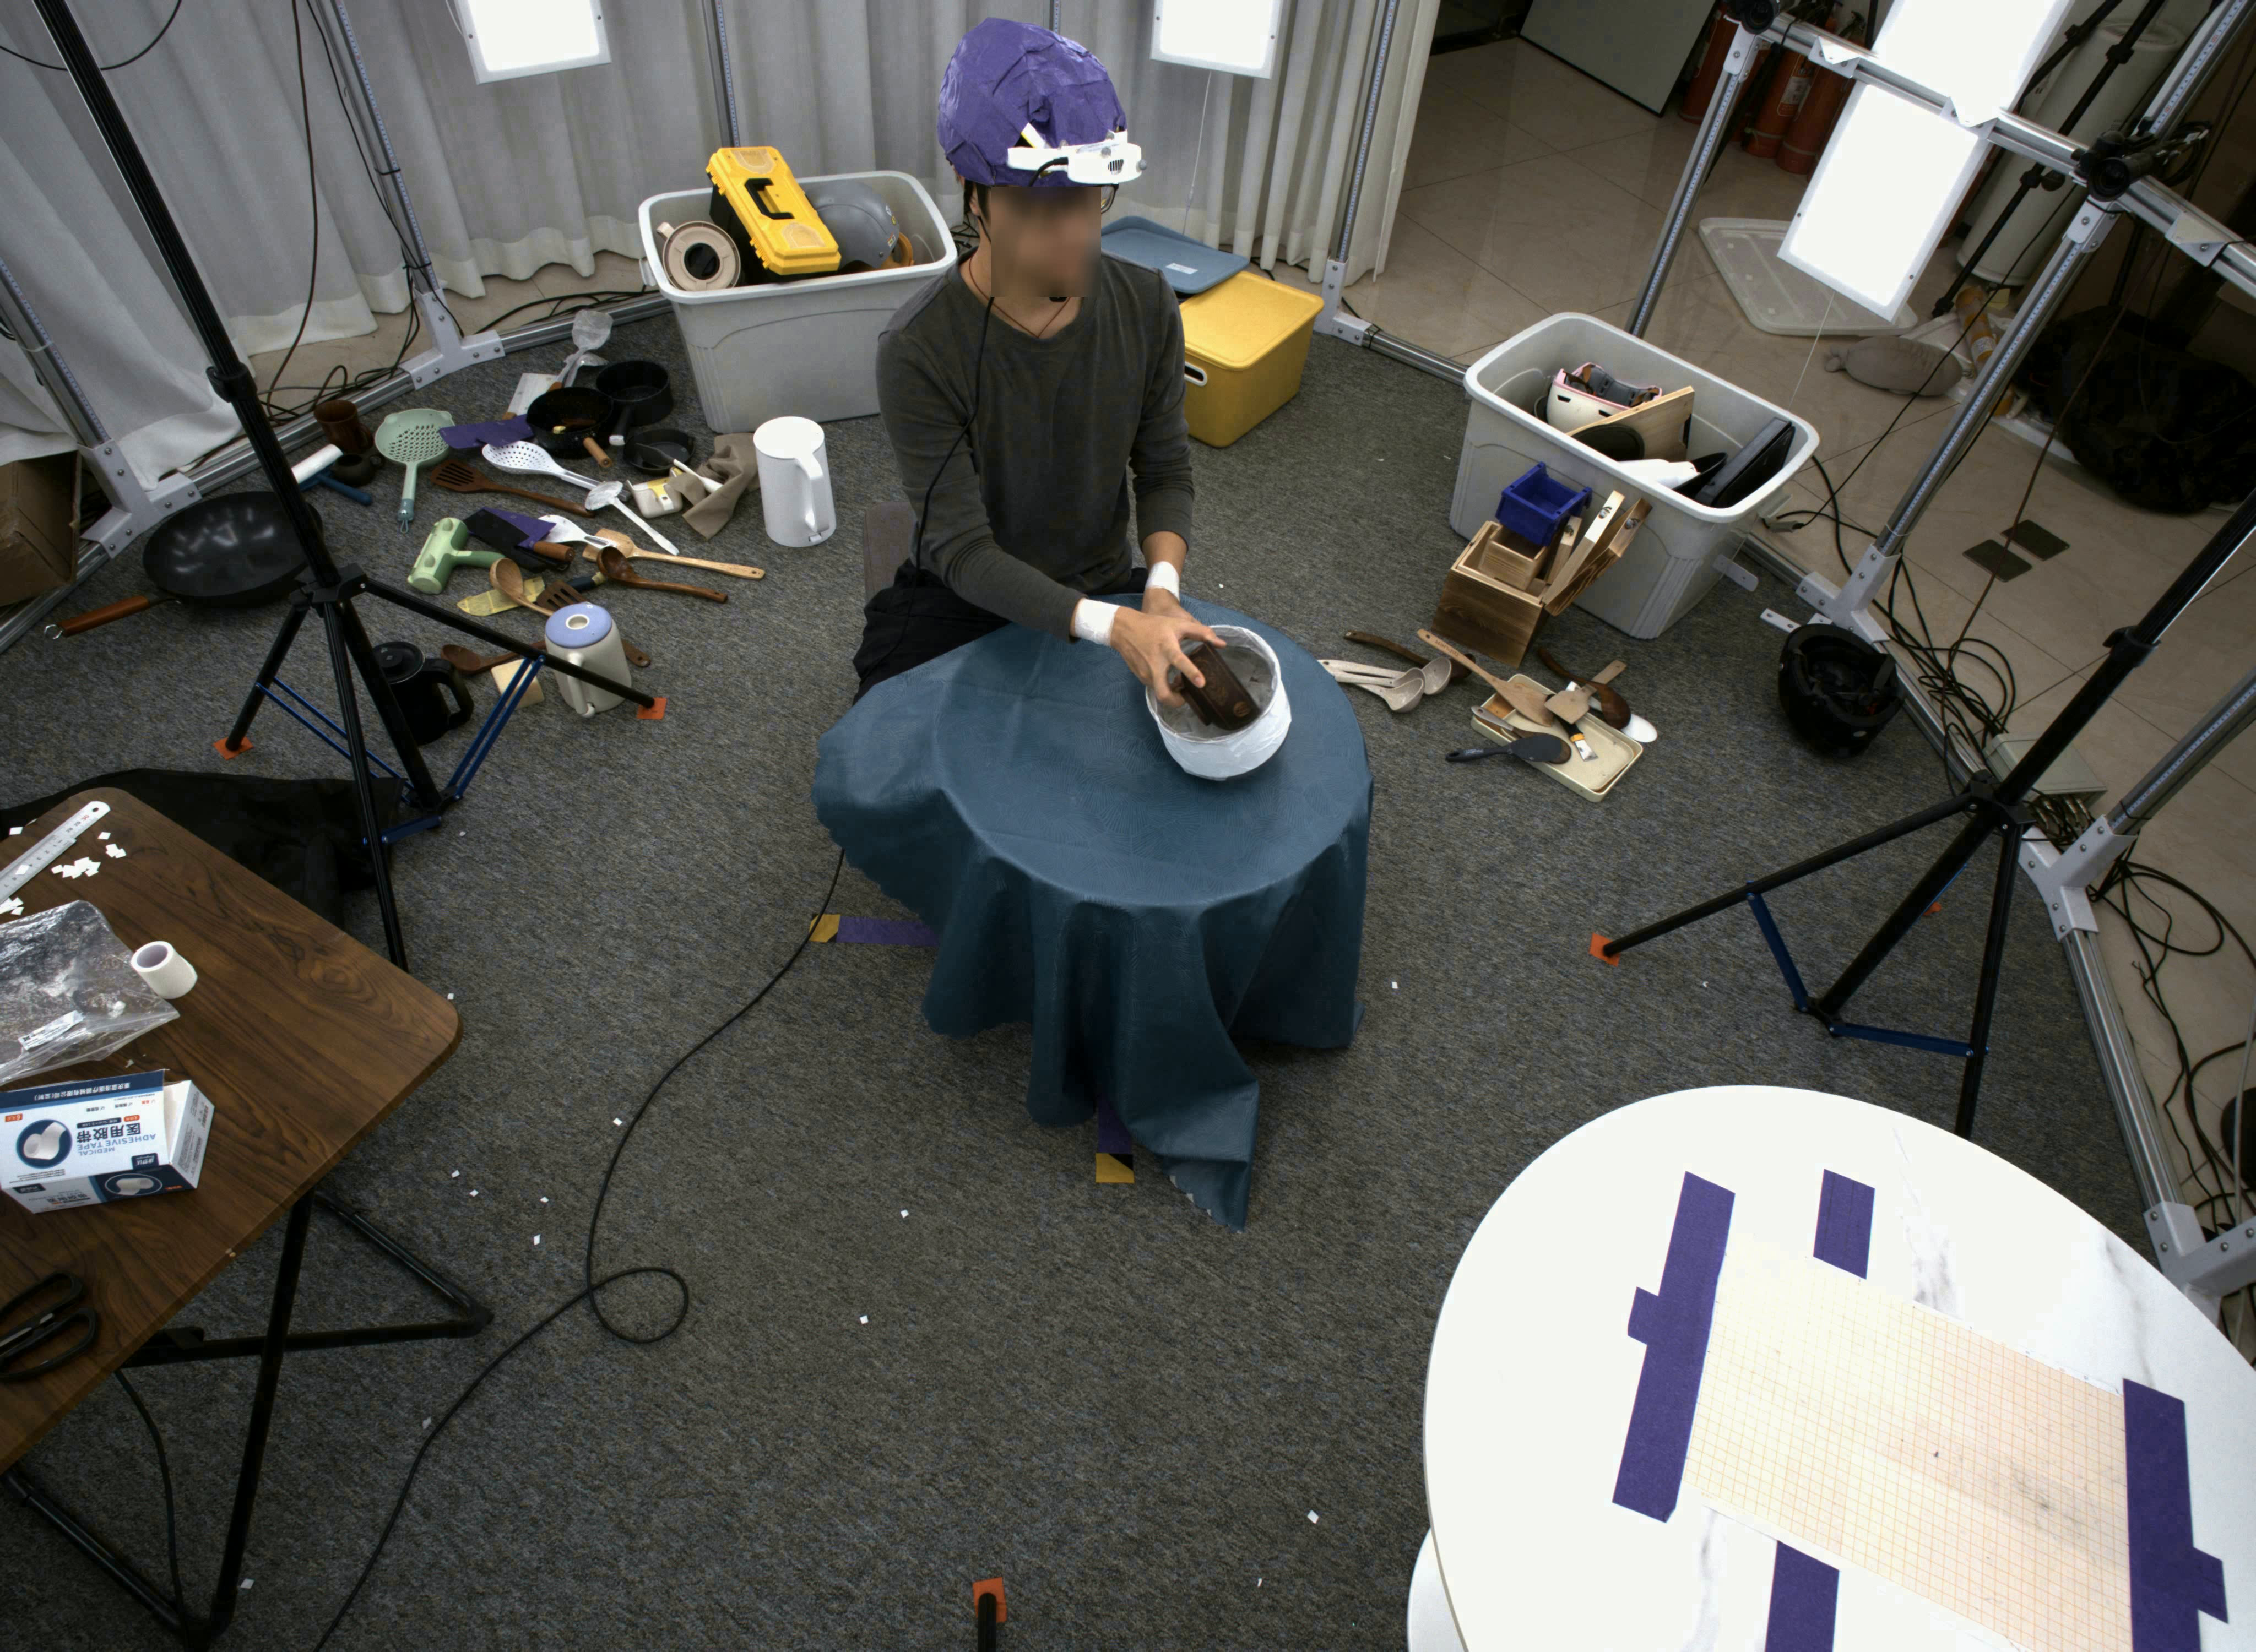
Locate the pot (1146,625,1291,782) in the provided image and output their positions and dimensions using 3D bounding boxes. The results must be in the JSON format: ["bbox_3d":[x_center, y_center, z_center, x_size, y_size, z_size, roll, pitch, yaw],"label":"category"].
[{"bbox_3d":[0.109,-0.177,1.715,0.179,0.134,0.238,-34,60,-3],"label":"pot"}]

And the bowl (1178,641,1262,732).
[{"bbox_3d":[0.108,-0.168,1.617,0.069,0.116,0.120,-38,56,8],"label":"bowl"}]
